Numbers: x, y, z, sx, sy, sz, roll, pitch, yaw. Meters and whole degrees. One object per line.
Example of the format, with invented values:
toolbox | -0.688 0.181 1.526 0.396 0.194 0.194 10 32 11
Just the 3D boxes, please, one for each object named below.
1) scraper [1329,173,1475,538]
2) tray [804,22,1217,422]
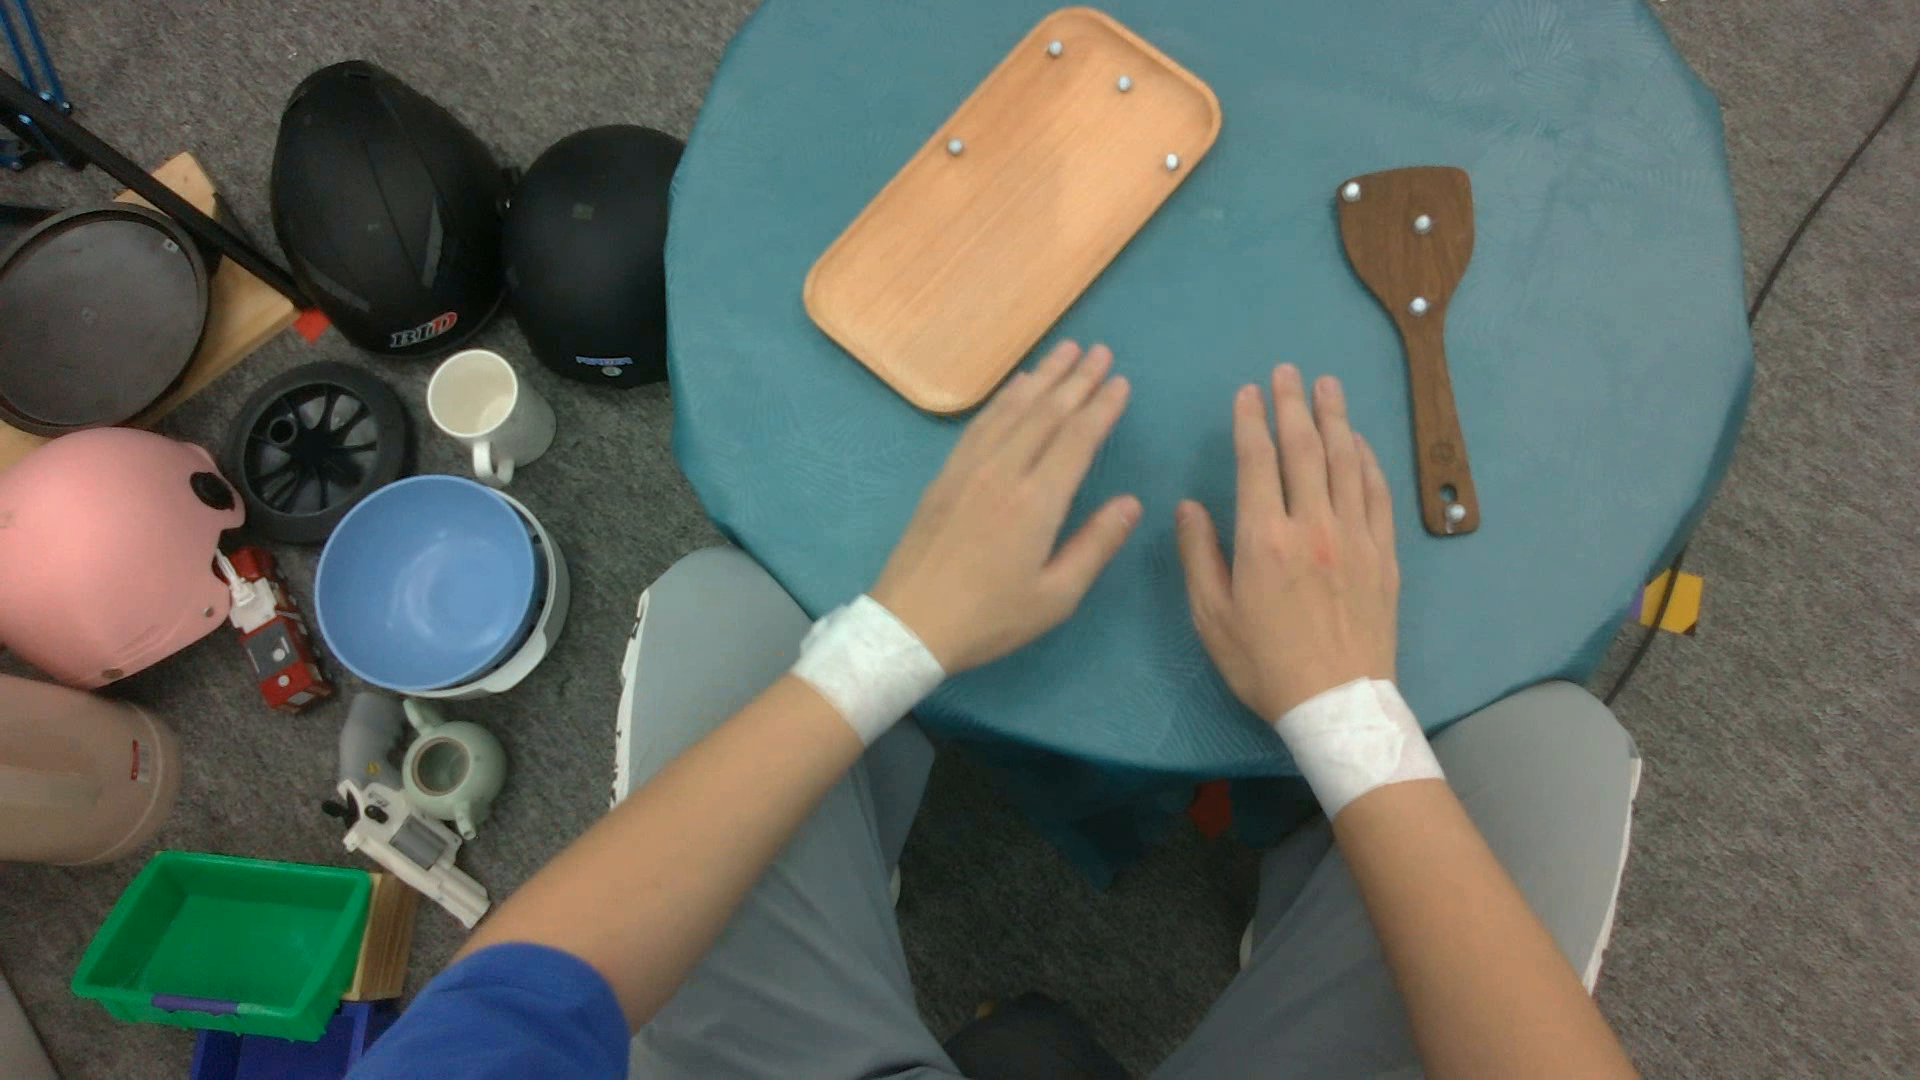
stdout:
scraper | 0.252 -0.103 0.755 0.076 0.011 0.212 -5 75 4
tray | 0.030 -0.185 0.791 0.130 0.023 0.251 40 82 16
